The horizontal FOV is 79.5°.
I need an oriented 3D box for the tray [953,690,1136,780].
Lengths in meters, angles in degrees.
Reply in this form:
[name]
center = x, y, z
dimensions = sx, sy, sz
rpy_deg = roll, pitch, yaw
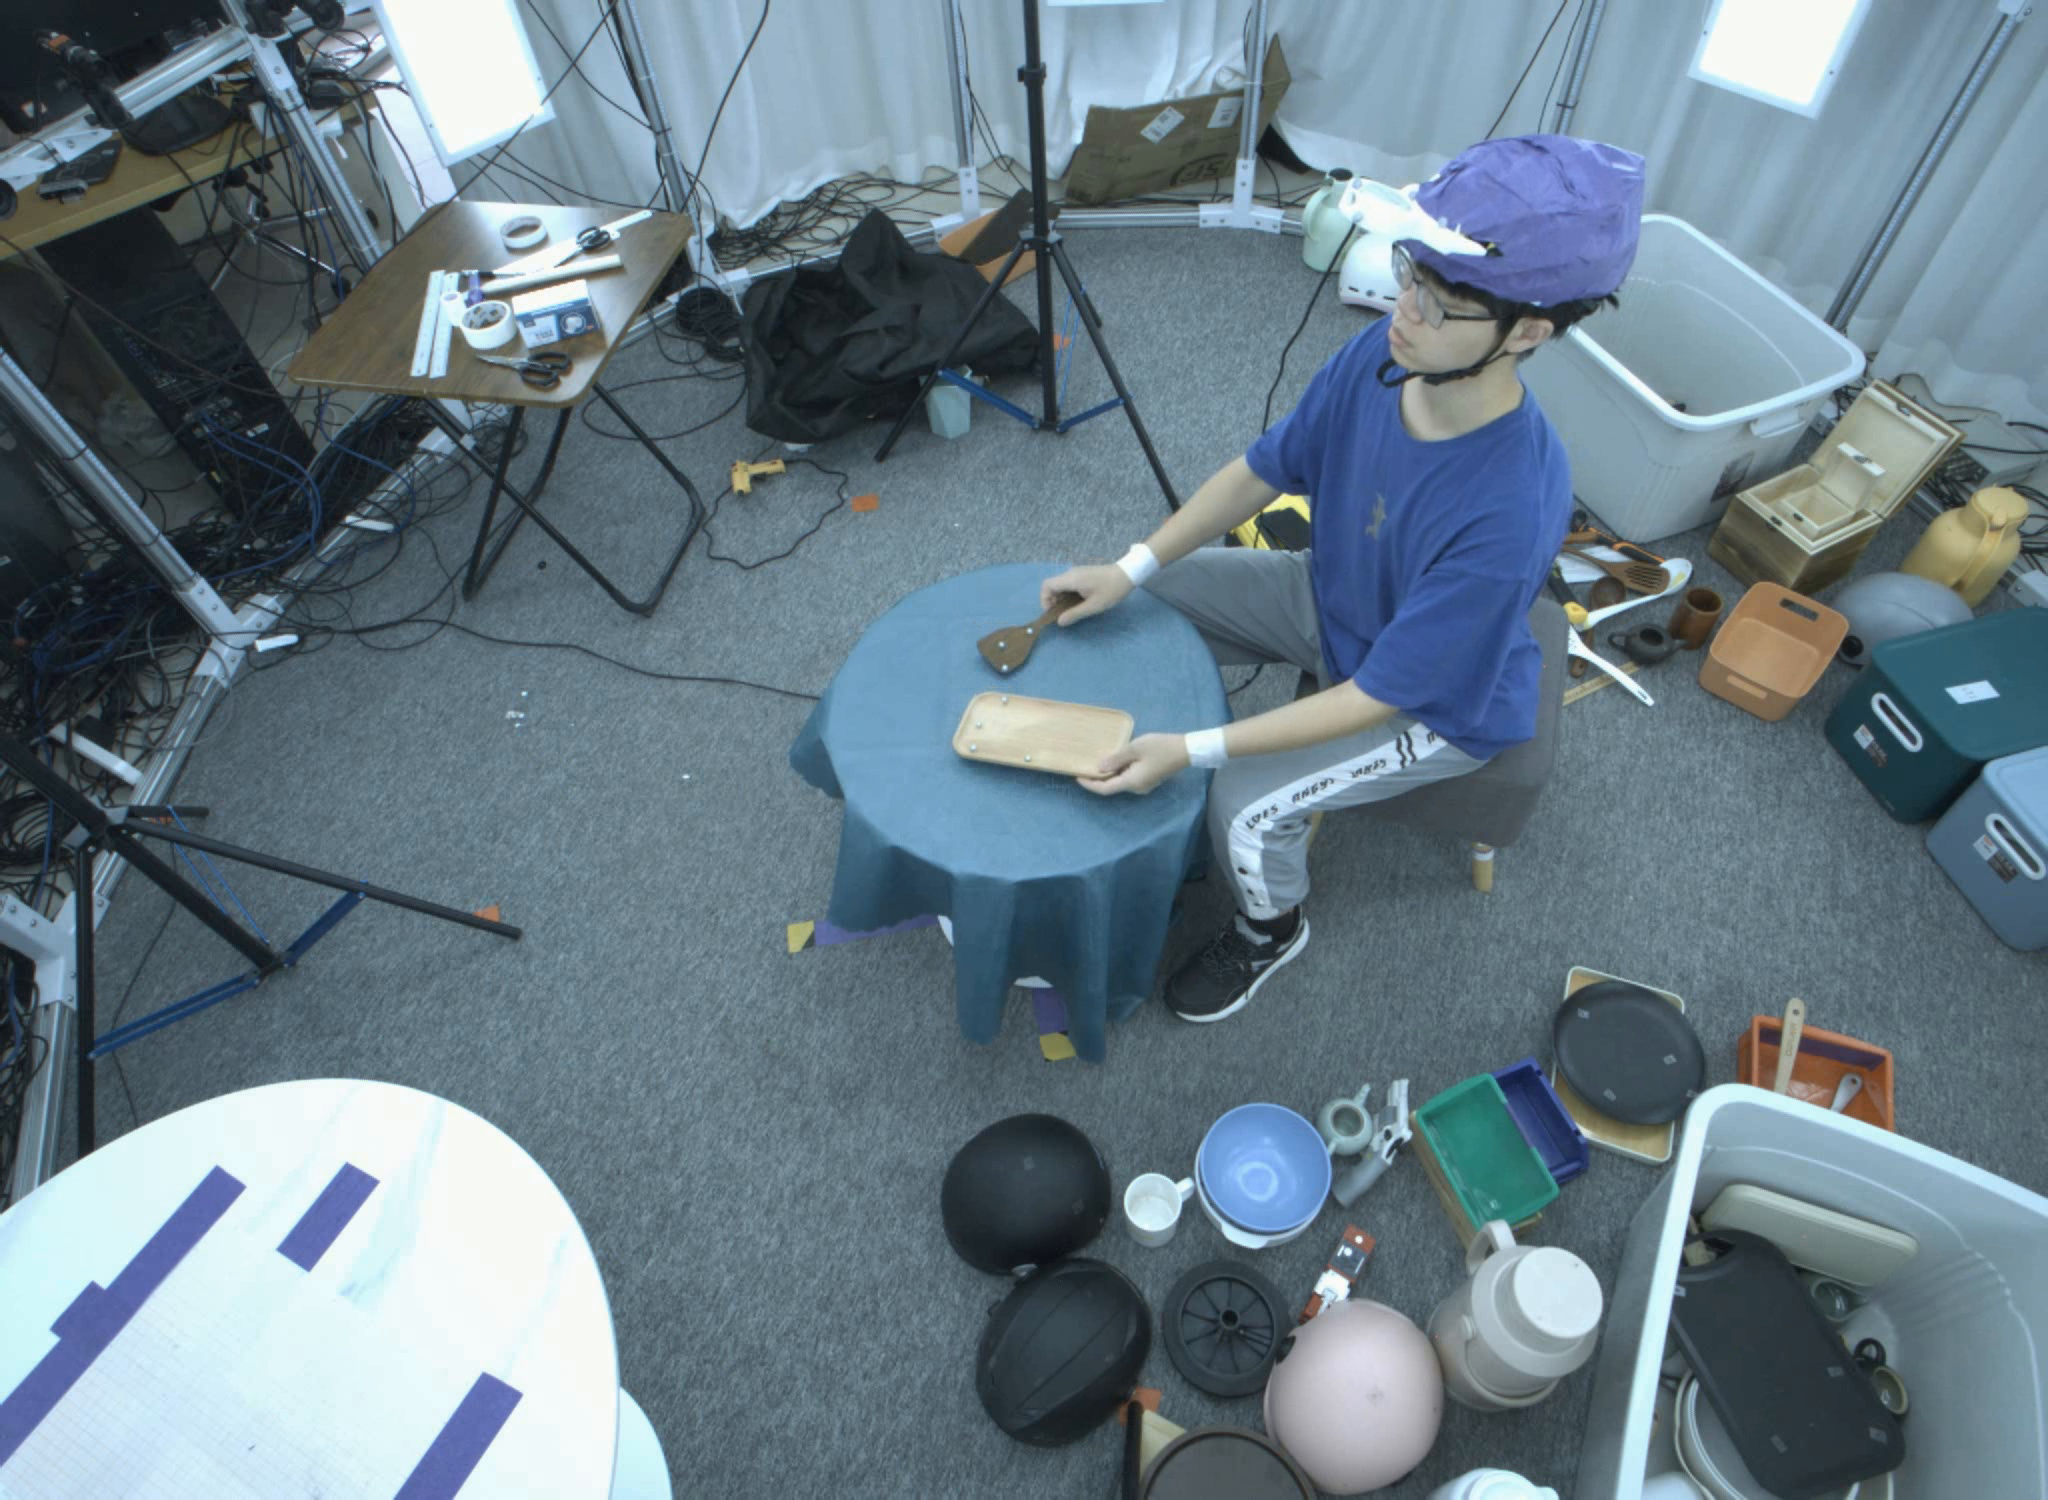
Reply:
[tray]
center = 0.029, -0.022, 1.753
dimensions = 0.248, 0.023, 0.130
rpy_deg = 10, 54, 15

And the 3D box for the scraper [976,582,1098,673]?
[scraper]
center = 0.026, -0.196, 1.886
dimensions = 0.212, 0.011, 0.075
rpy_deg = -36, 74, -16
